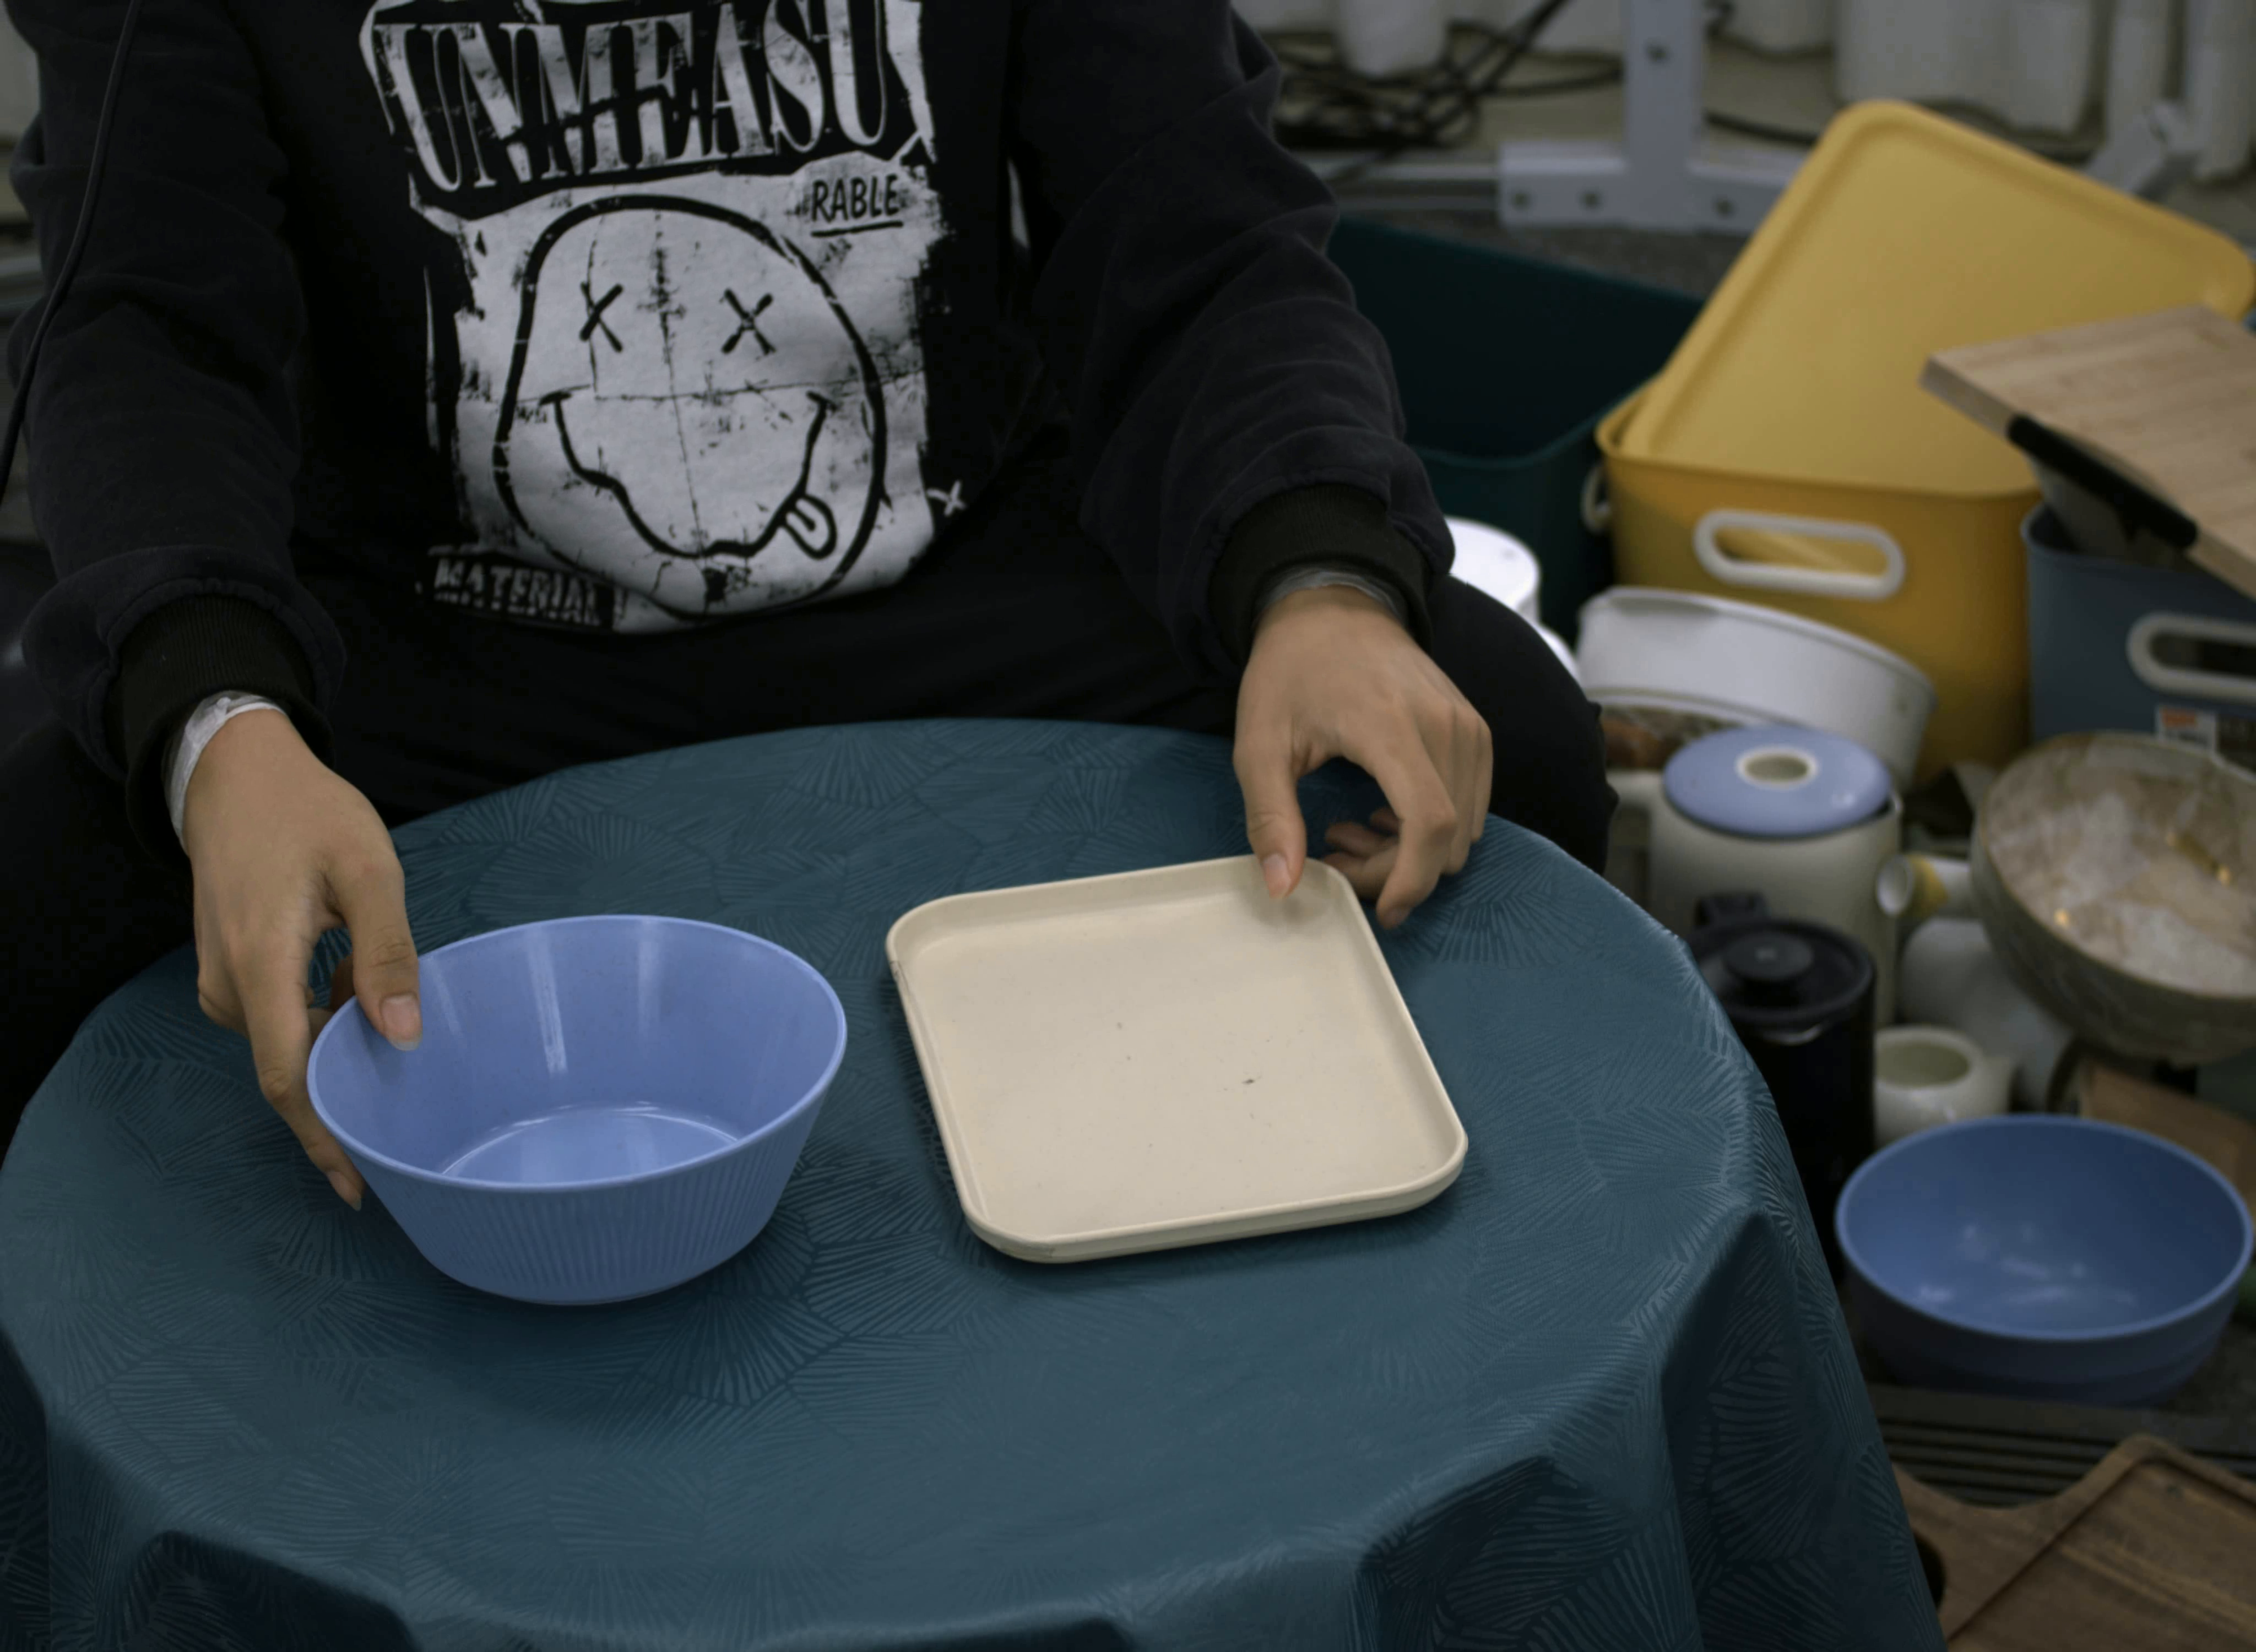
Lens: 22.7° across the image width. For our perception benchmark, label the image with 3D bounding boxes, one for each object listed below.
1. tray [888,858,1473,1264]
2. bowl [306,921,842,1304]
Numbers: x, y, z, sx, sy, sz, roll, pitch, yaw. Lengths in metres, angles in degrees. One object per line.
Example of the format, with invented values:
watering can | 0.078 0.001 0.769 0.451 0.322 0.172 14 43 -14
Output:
tray | 0.014 0.079 1.923 0.171 0.017 0.242 -7 27 -8
bowl | -0.179 0.100 1.844 0.175 0.069 0.179 -2 27 1
